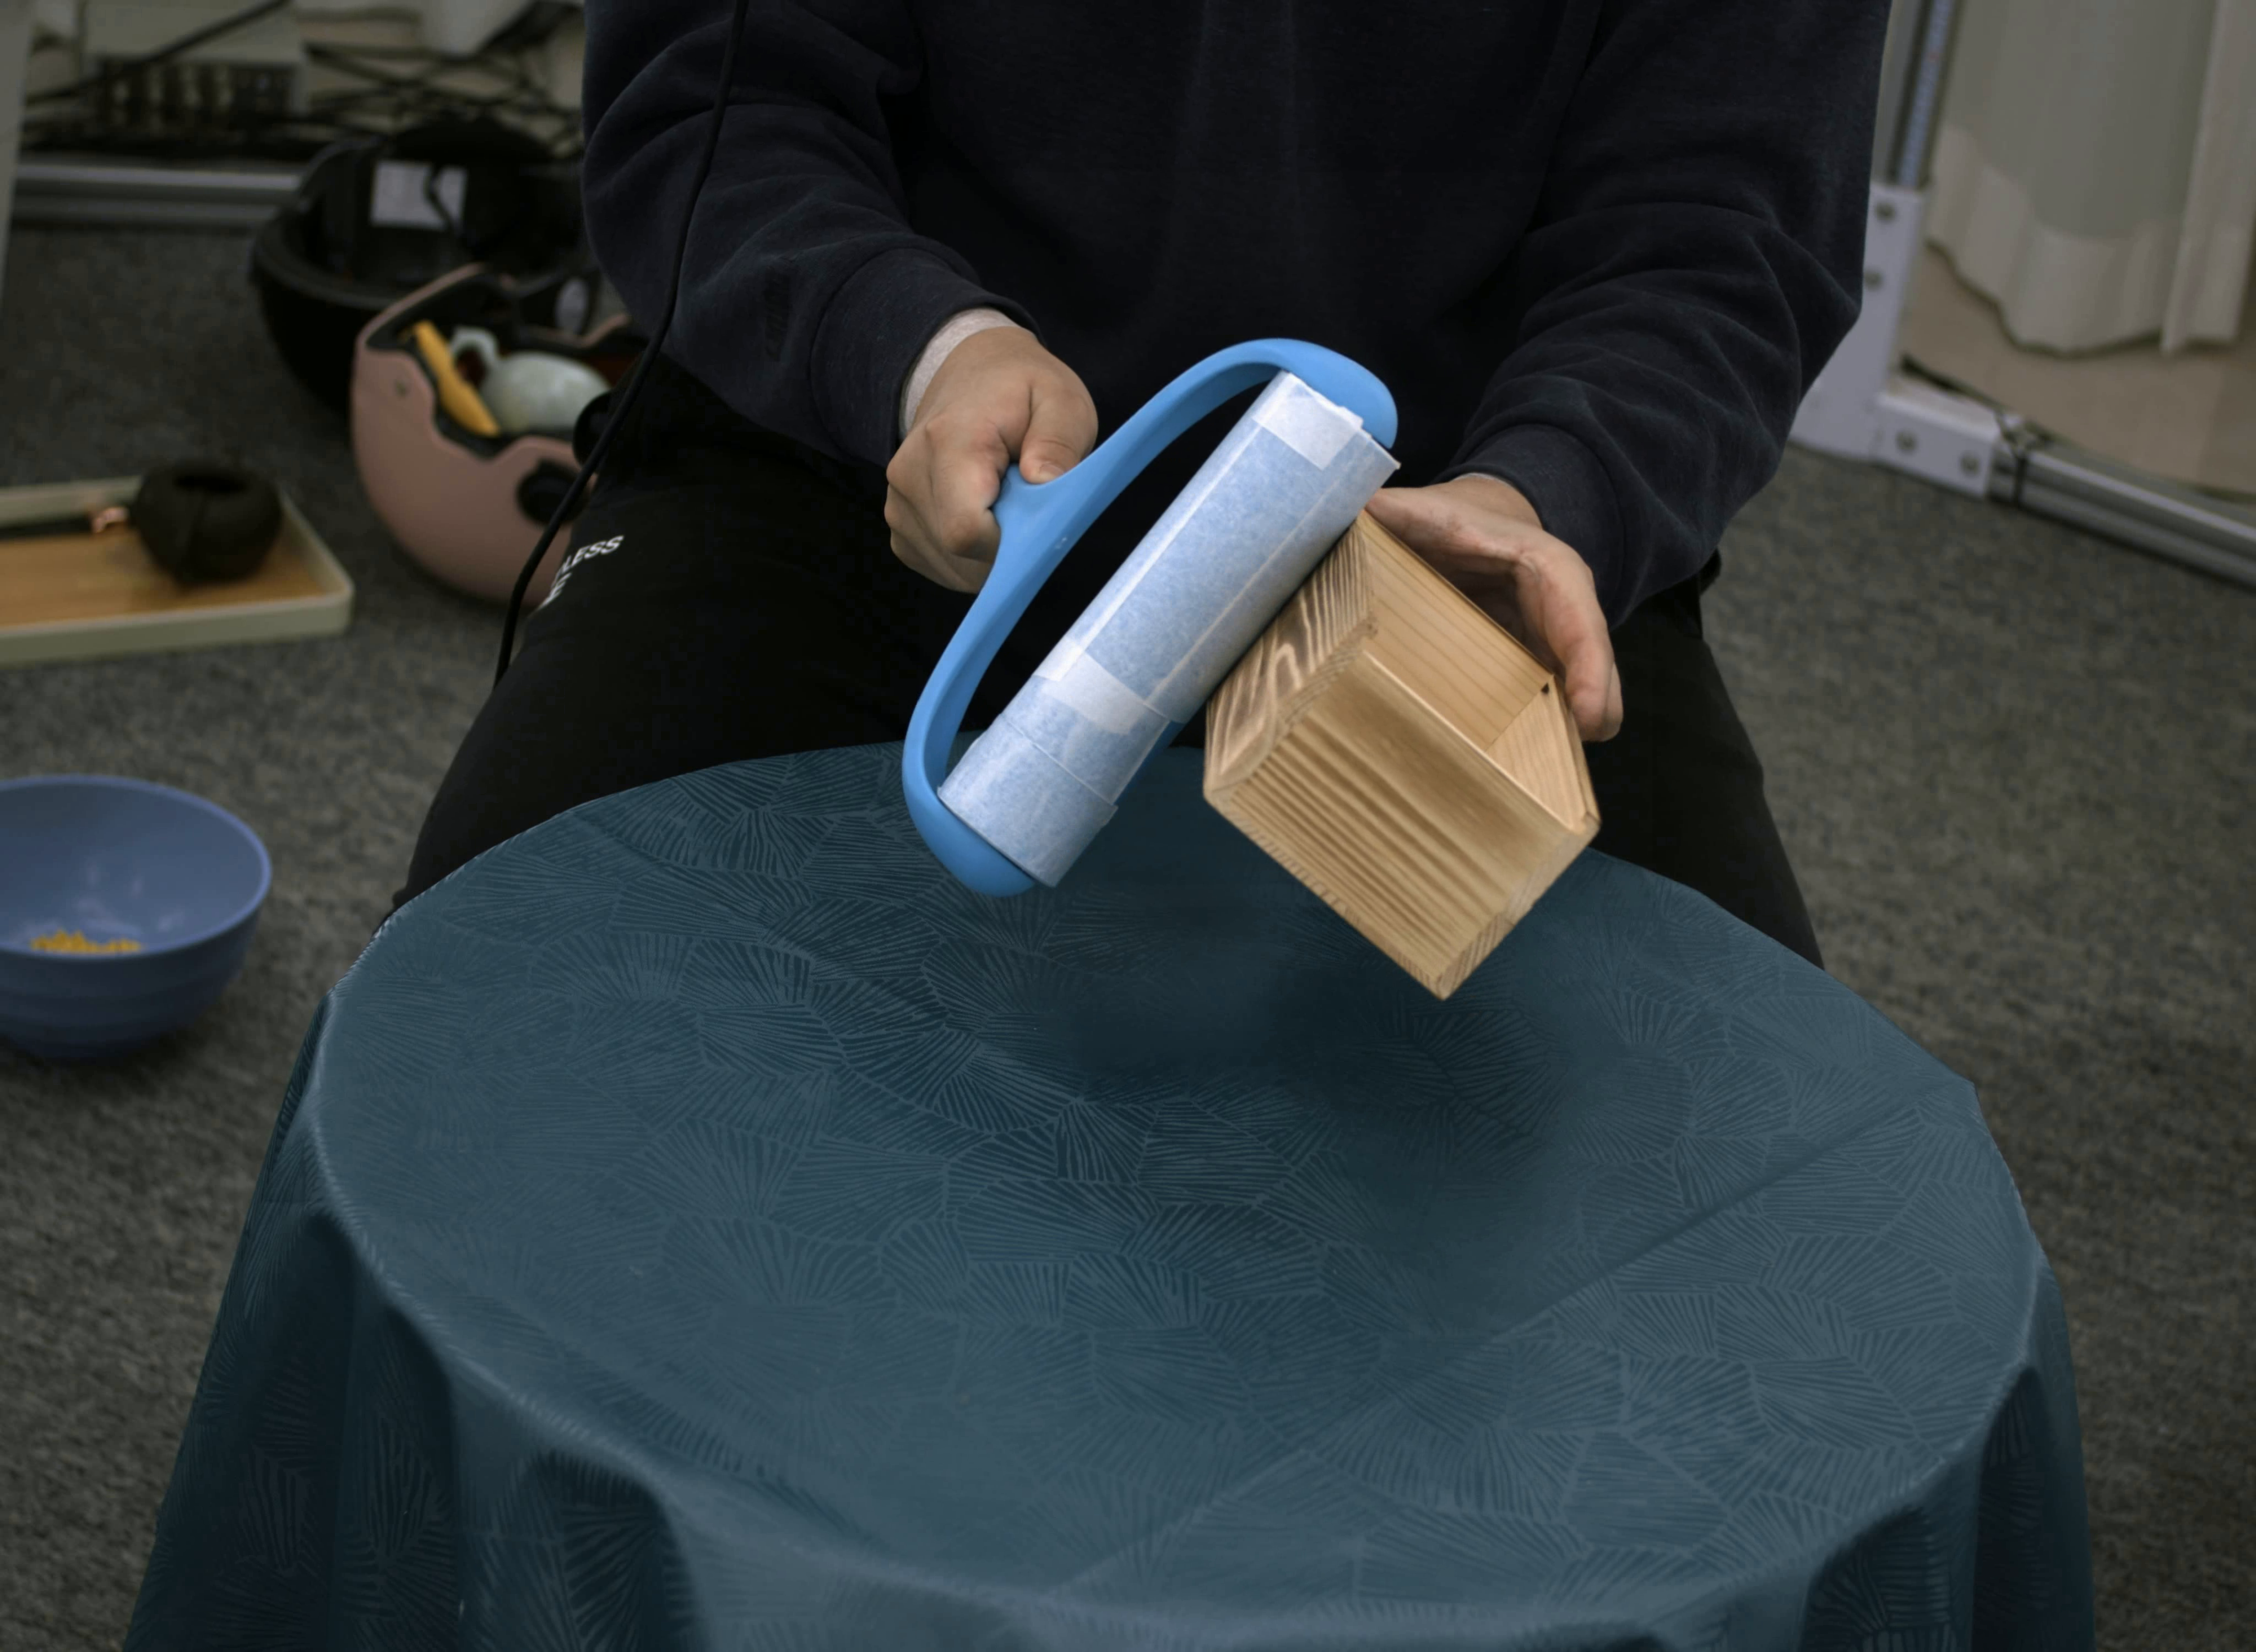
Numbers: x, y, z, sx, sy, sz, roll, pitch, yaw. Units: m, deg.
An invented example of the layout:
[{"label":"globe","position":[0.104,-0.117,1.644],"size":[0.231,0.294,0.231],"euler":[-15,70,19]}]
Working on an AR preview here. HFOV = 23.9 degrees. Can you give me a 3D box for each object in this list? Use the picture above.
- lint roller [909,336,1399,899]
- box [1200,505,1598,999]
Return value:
[{"label":"lint roller","position":[-0.017,-0.095,1.909],"size":[0.067,0.229,0.182],"euler":[34,3,-42]},{"label":"box","position":[0.091,-0.031,1.828],"size":[0.107,0.080,0.212],"euler":[40,12,-8]}]
